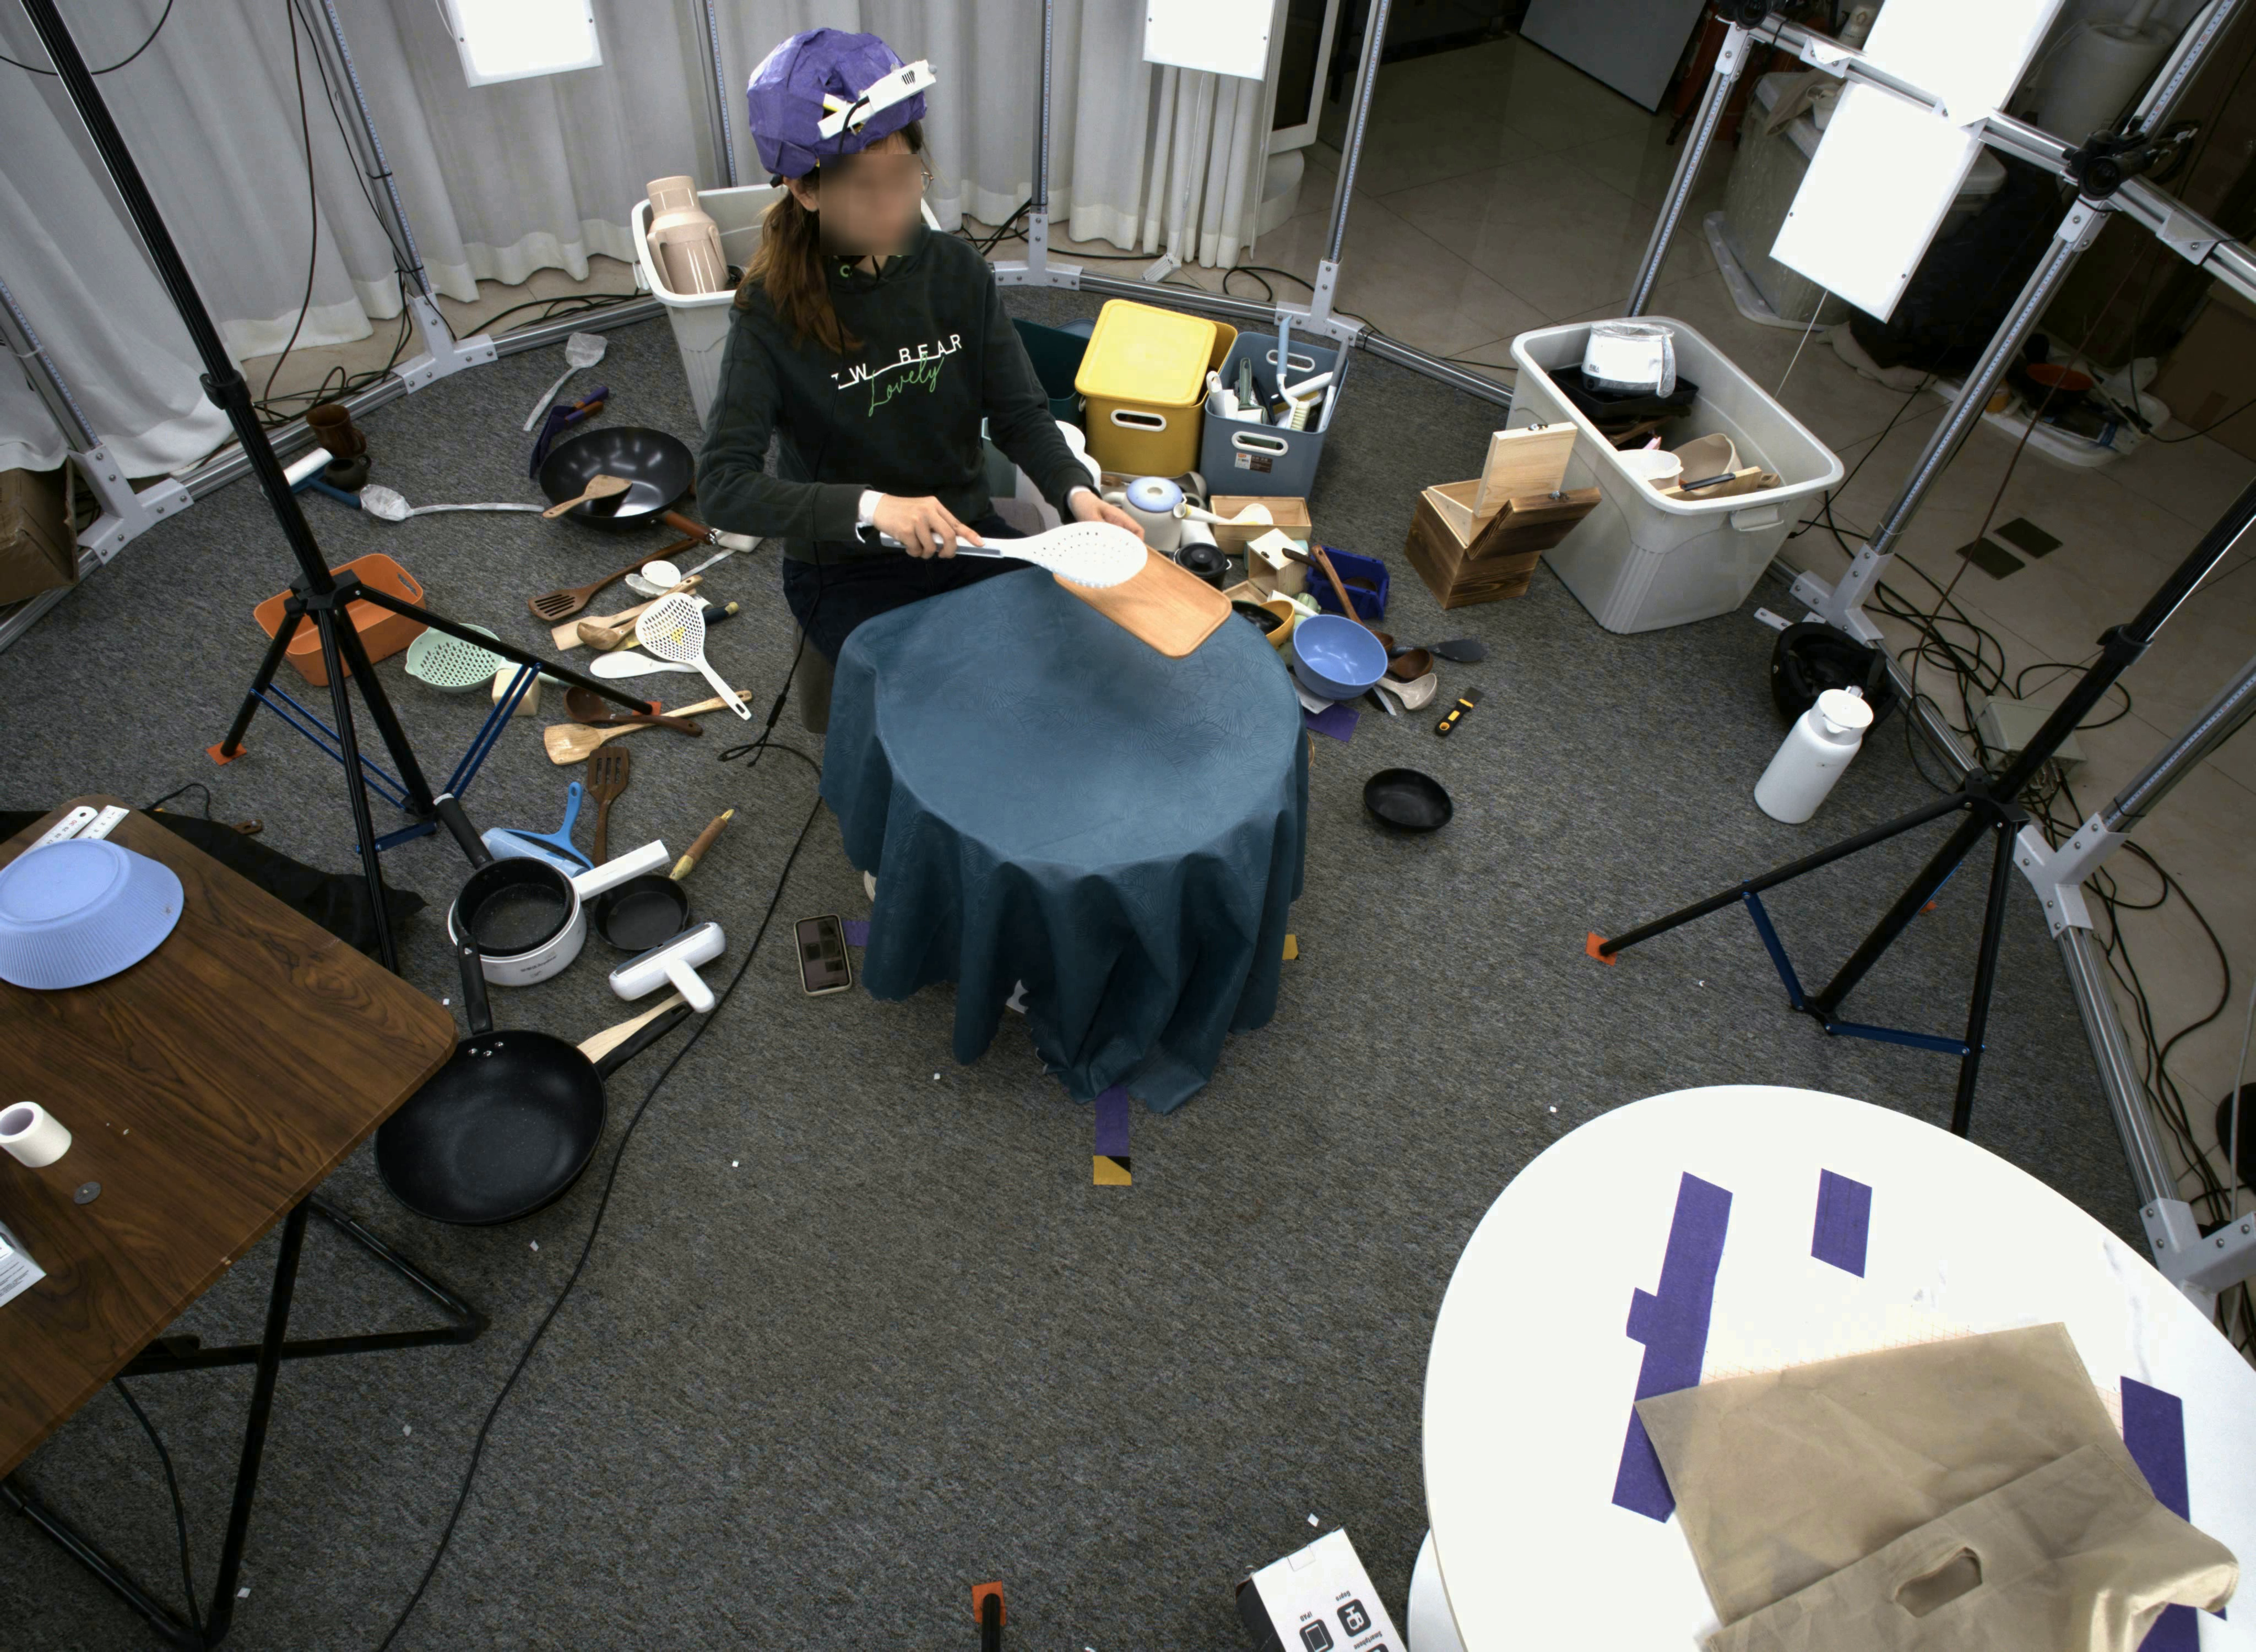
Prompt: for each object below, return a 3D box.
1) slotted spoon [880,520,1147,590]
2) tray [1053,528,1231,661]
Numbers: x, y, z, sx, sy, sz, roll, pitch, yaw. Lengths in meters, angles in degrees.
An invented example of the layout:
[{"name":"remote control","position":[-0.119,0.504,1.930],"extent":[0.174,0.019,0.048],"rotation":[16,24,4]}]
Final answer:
[{"name":"slotted spoon","position":[-0.150,-0.365,1.701],"extent":[0.350,0.133,0.046],"rotation":[10,64,2]},{"name":"tray","position":[0.018,-0.322,1.780],"extent":[0.254,0.022,0.132],"rotation":[37,67,26]}]
